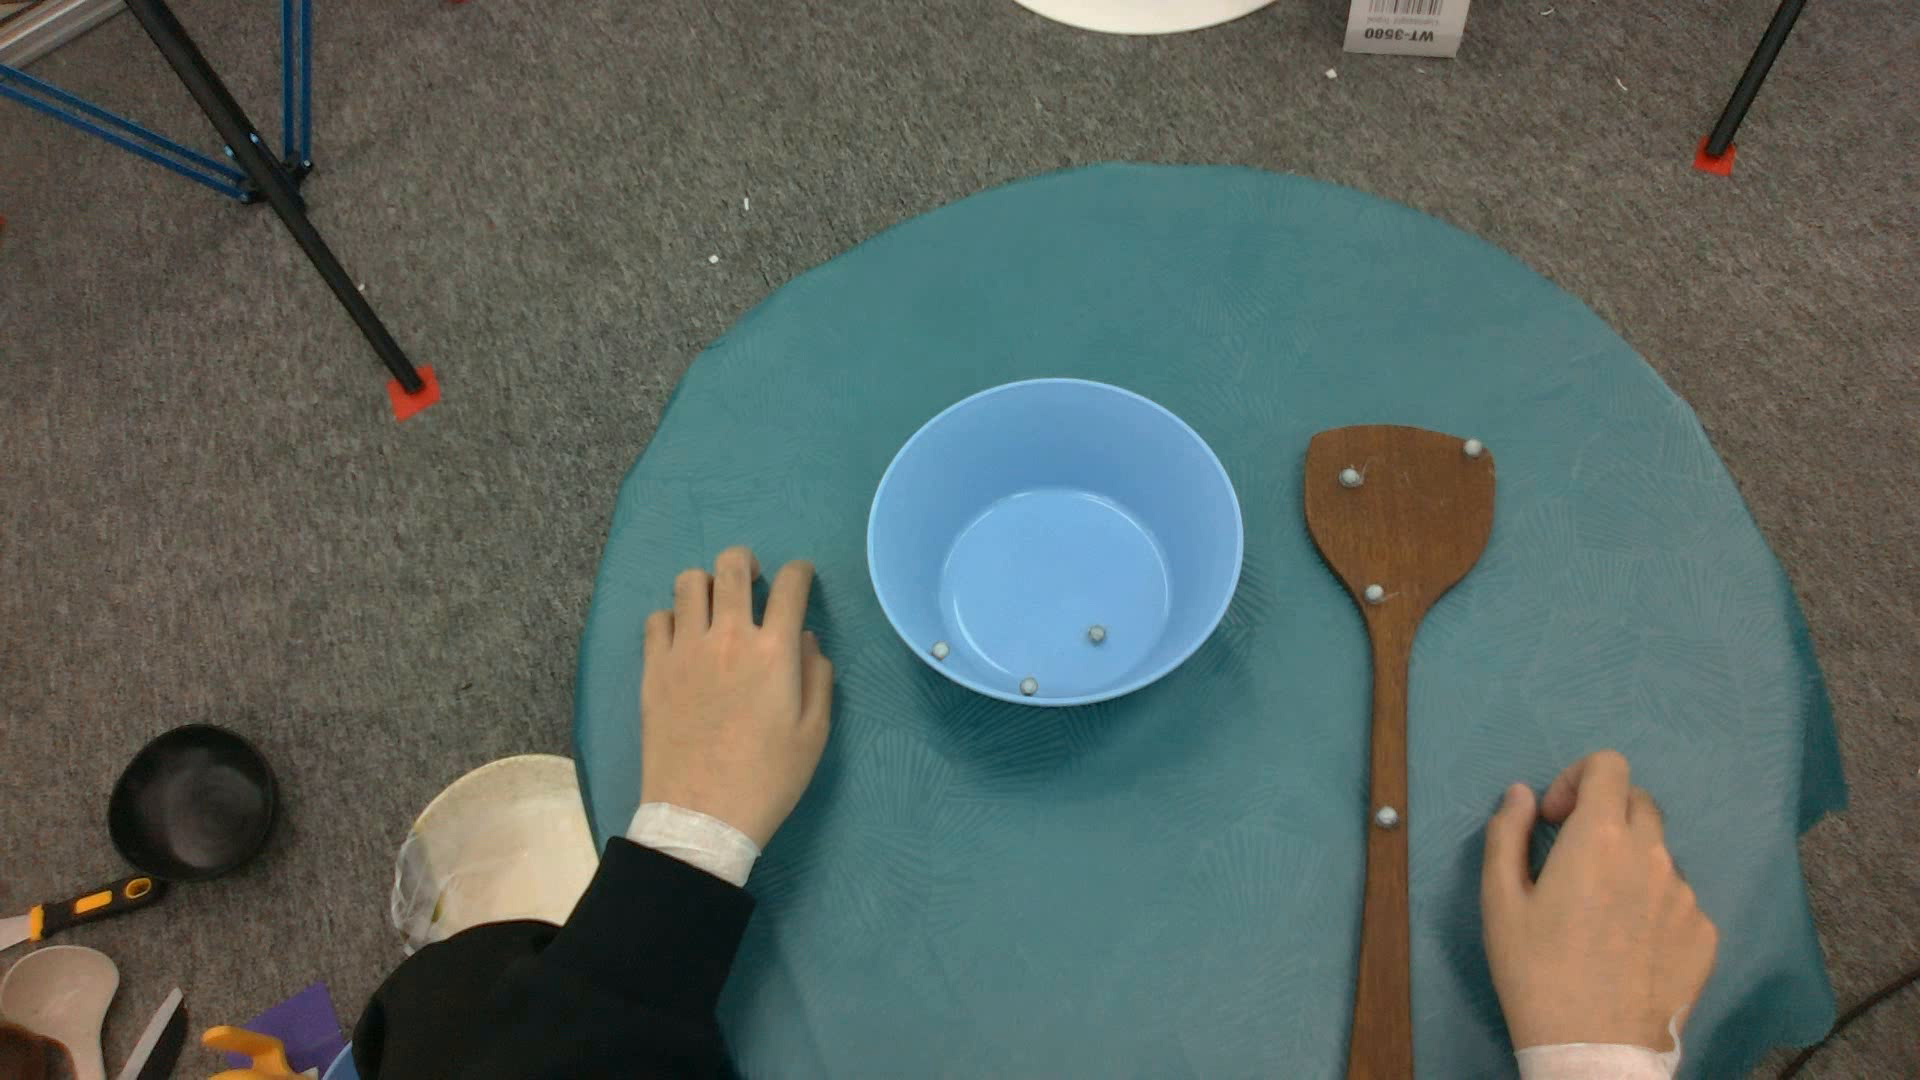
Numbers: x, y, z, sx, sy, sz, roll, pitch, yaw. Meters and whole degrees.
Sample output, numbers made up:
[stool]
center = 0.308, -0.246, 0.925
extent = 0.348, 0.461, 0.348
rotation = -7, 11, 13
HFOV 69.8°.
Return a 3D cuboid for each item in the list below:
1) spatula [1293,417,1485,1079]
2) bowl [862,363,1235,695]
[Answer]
[spatula]
center = 0.195, 0.105, 0.638
extent = 0.096, 0.016, 0.387
rotation = 6, 62, 8
[bowl]
center = 0.043, 0.004, 0.673
extent = 0.176, 0.070, 0.177
rotation = -2, 62, 4
